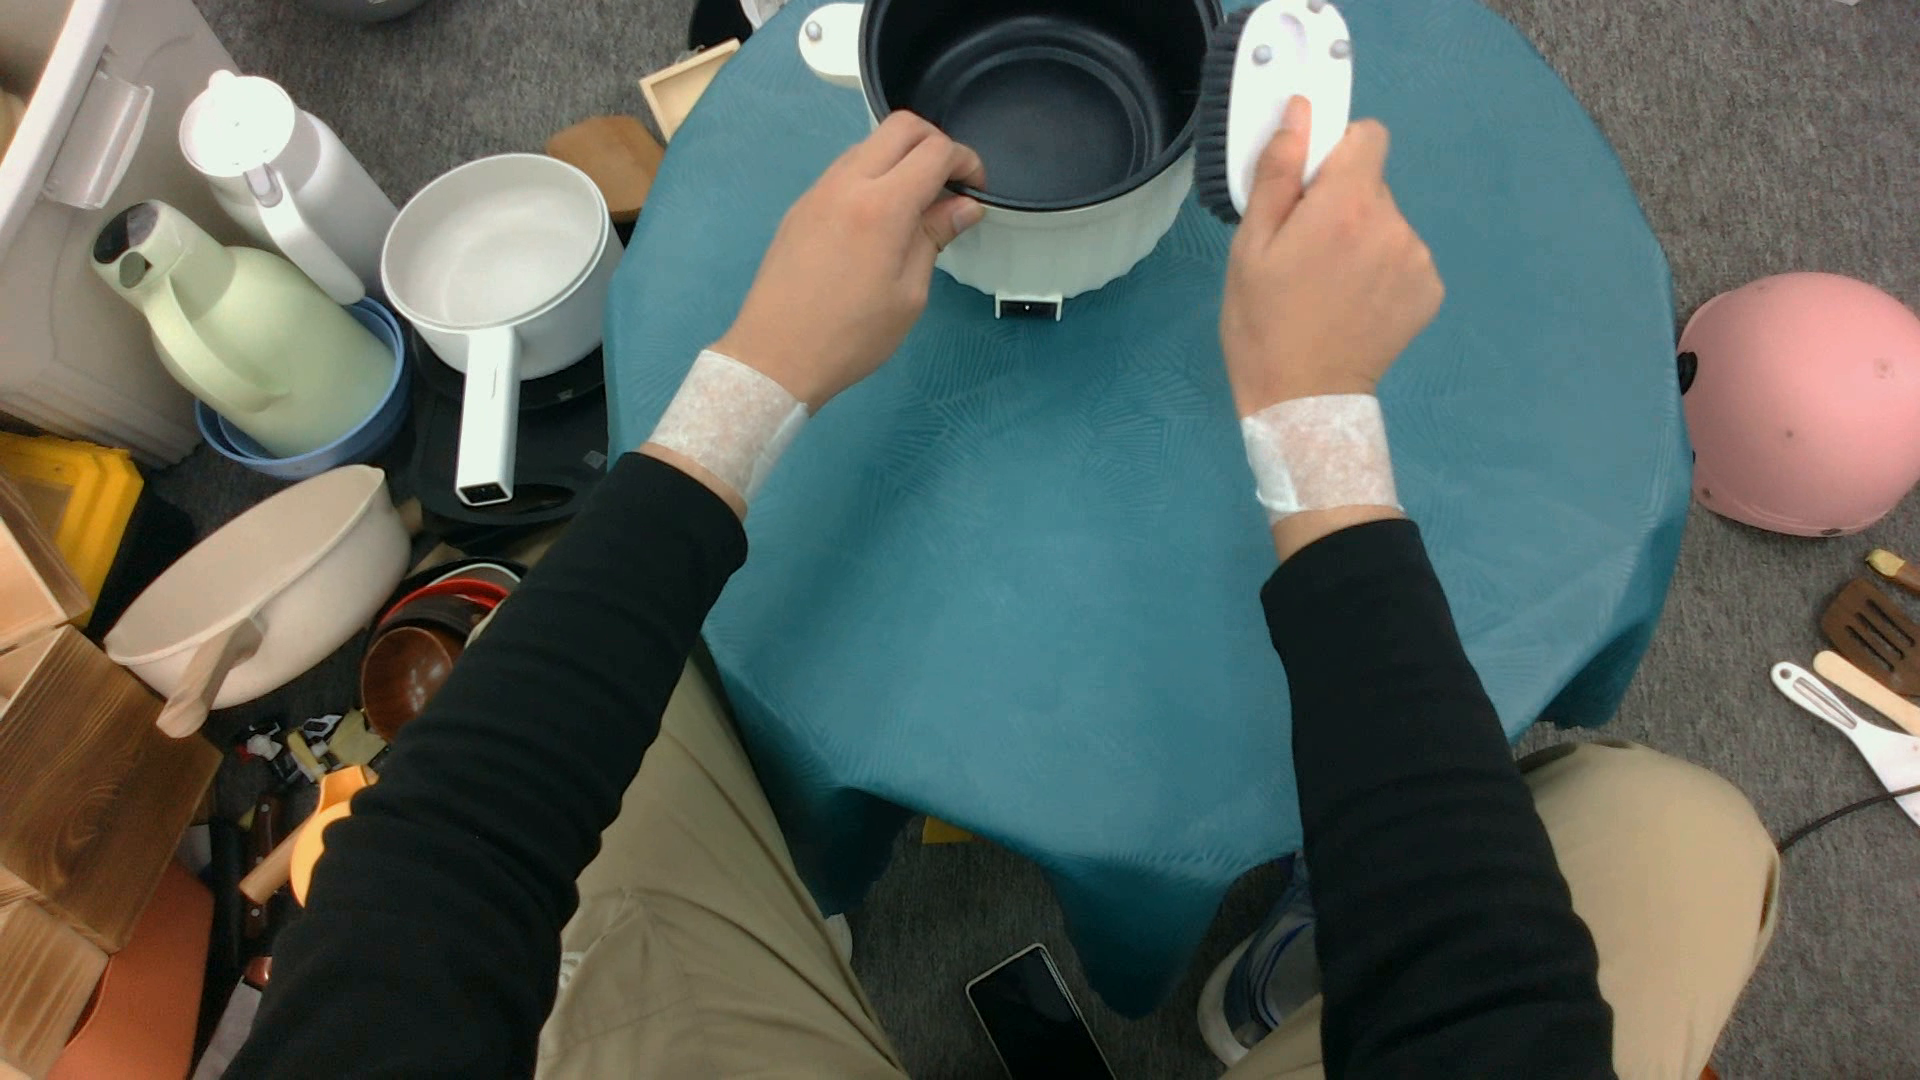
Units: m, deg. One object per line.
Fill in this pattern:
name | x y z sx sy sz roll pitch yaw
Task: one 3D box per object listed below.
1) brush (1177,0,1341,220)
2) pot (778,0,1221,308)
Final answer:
brush | 0.139 -0.192 0.614 0.050 0.072 0.099 1 103 -25
pot | 0.029 -0.236 0.743 0.240 0.142 0.191 2 77 0
